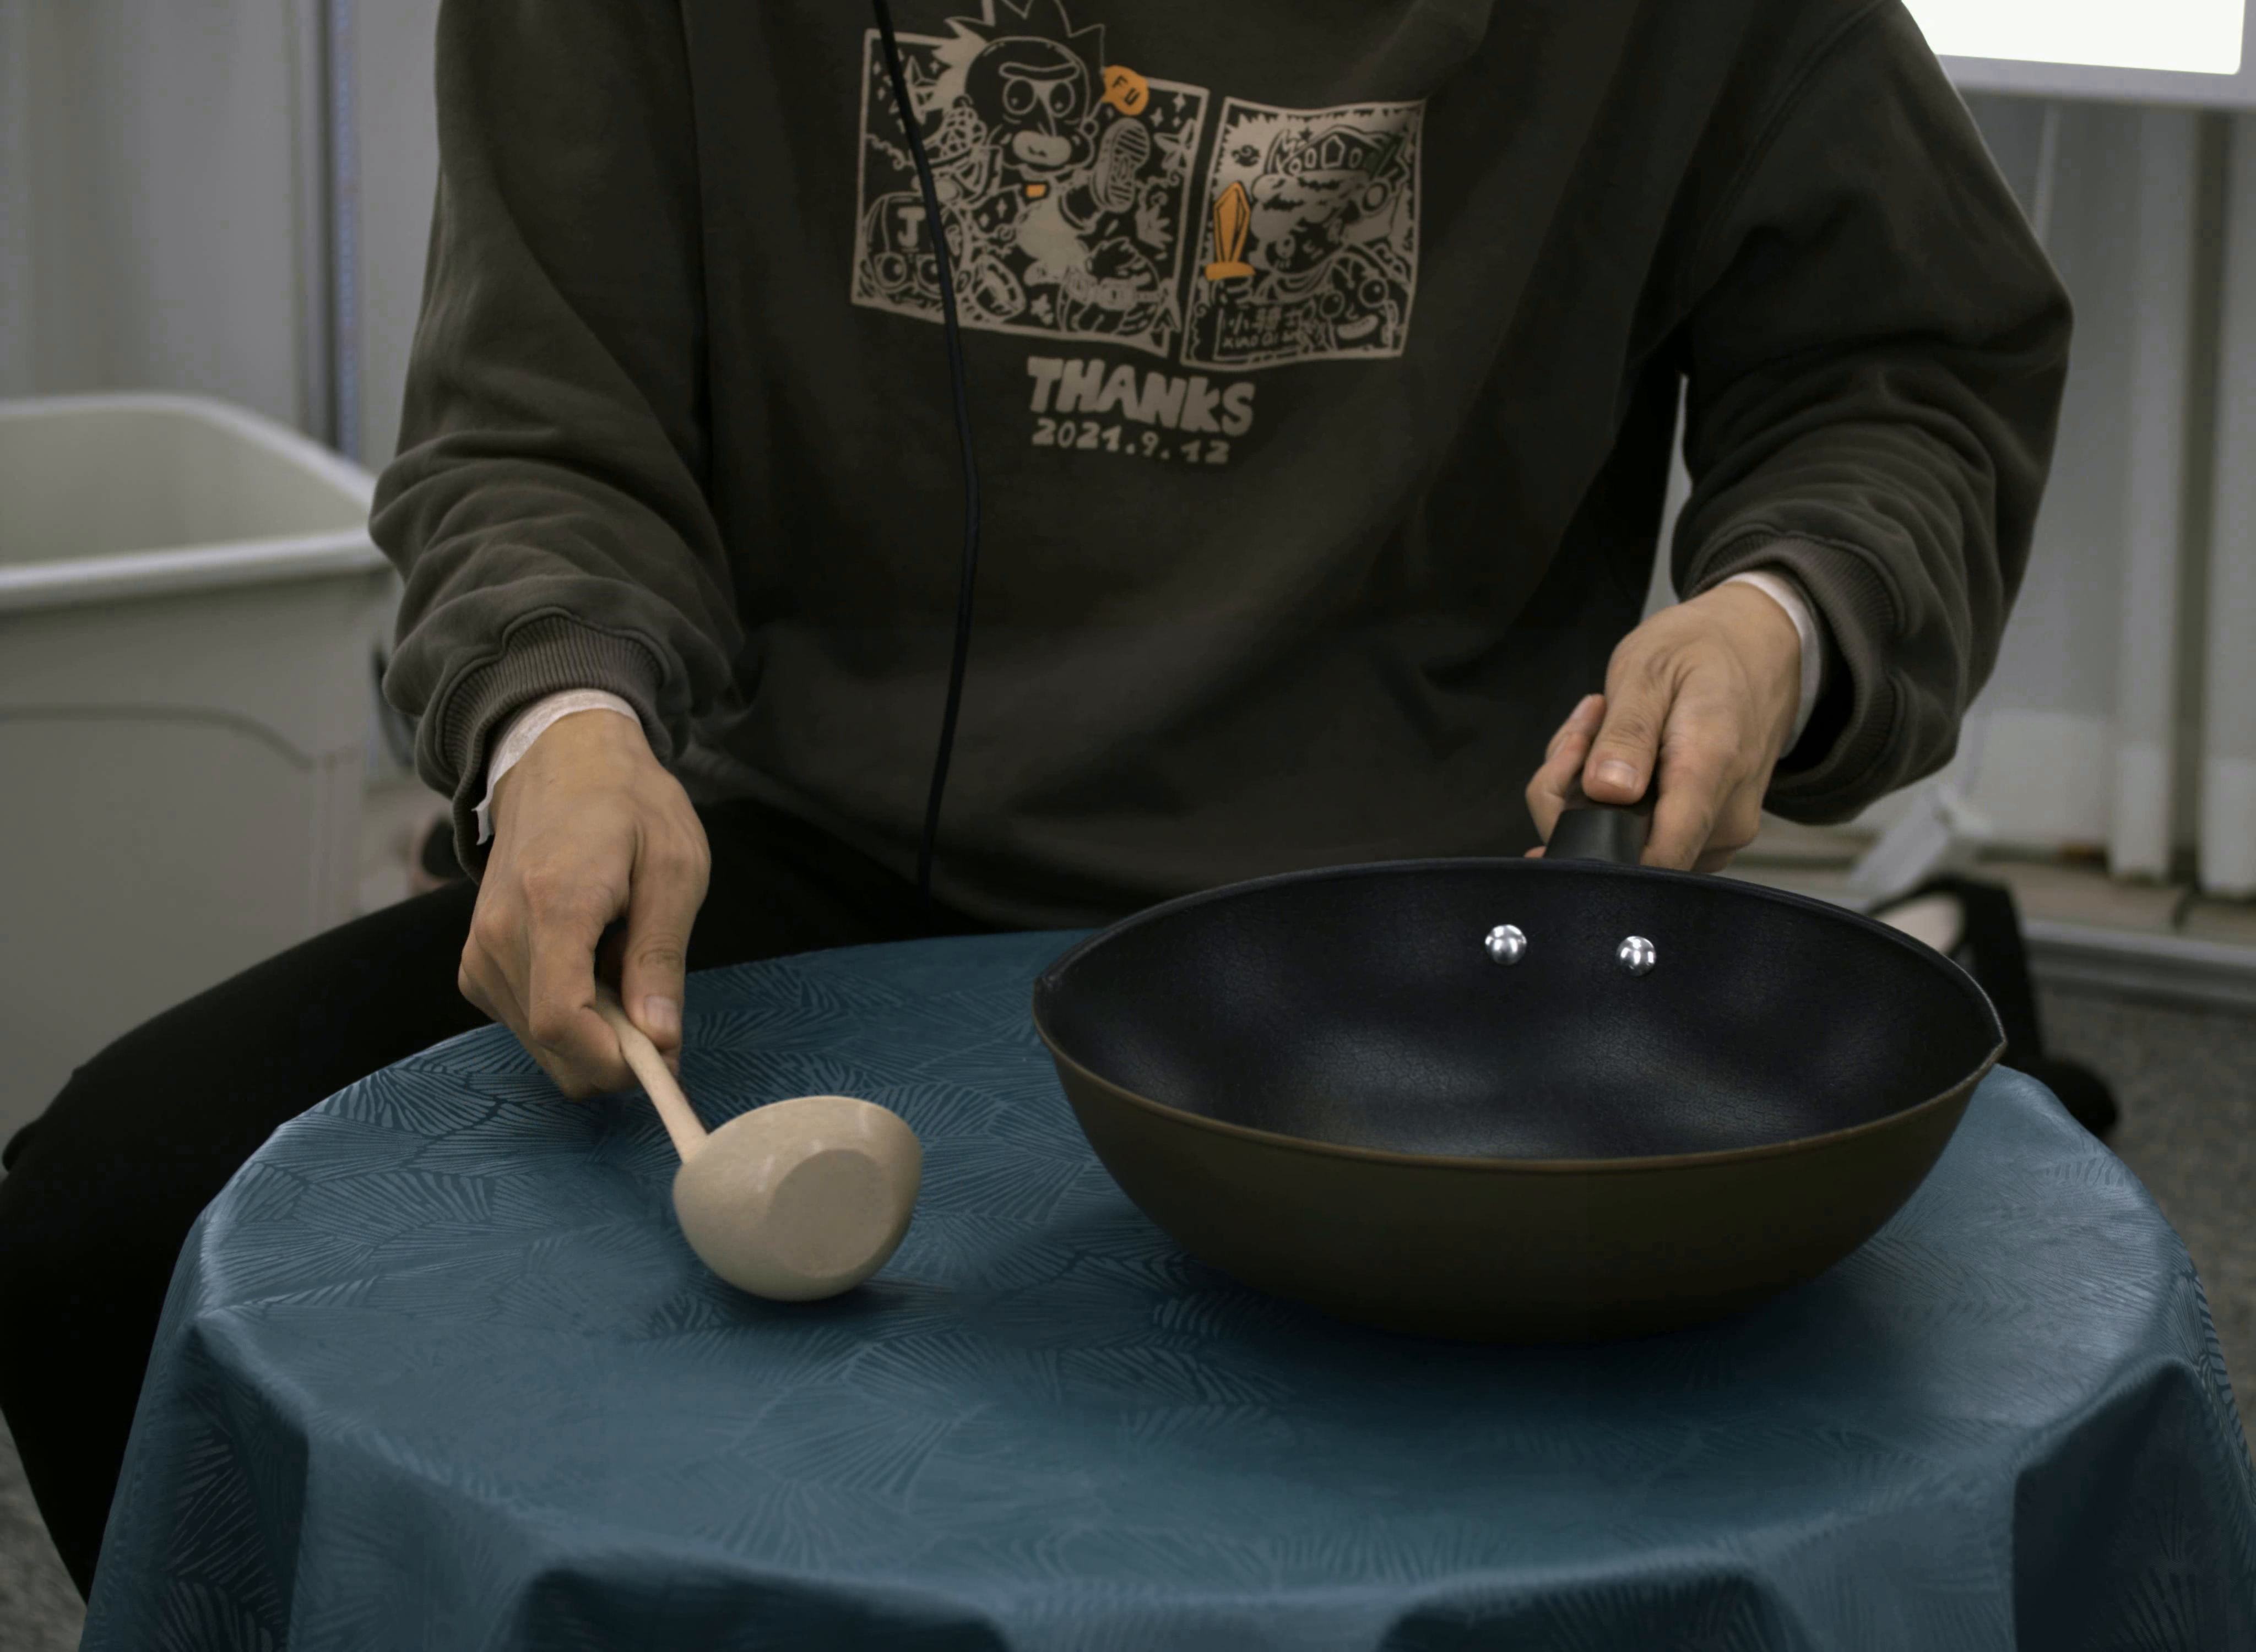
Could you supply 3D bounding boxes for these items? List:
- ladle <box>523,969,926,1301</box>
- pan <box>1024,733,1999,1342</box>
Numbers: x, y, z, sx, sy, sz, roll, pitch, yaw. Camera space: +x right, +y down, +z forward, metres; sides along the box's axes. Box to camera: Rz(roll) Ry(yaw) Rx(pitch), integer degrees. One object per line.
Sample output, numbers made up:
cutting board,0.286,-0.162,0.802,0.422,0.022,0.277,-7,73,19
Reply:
ladle,-0.132,0.065,1.606,0.072,0.073,0.251,10,19,-29
pan,0.131,0.063,1.645,0.286,0.087,0.462,4,16,12
